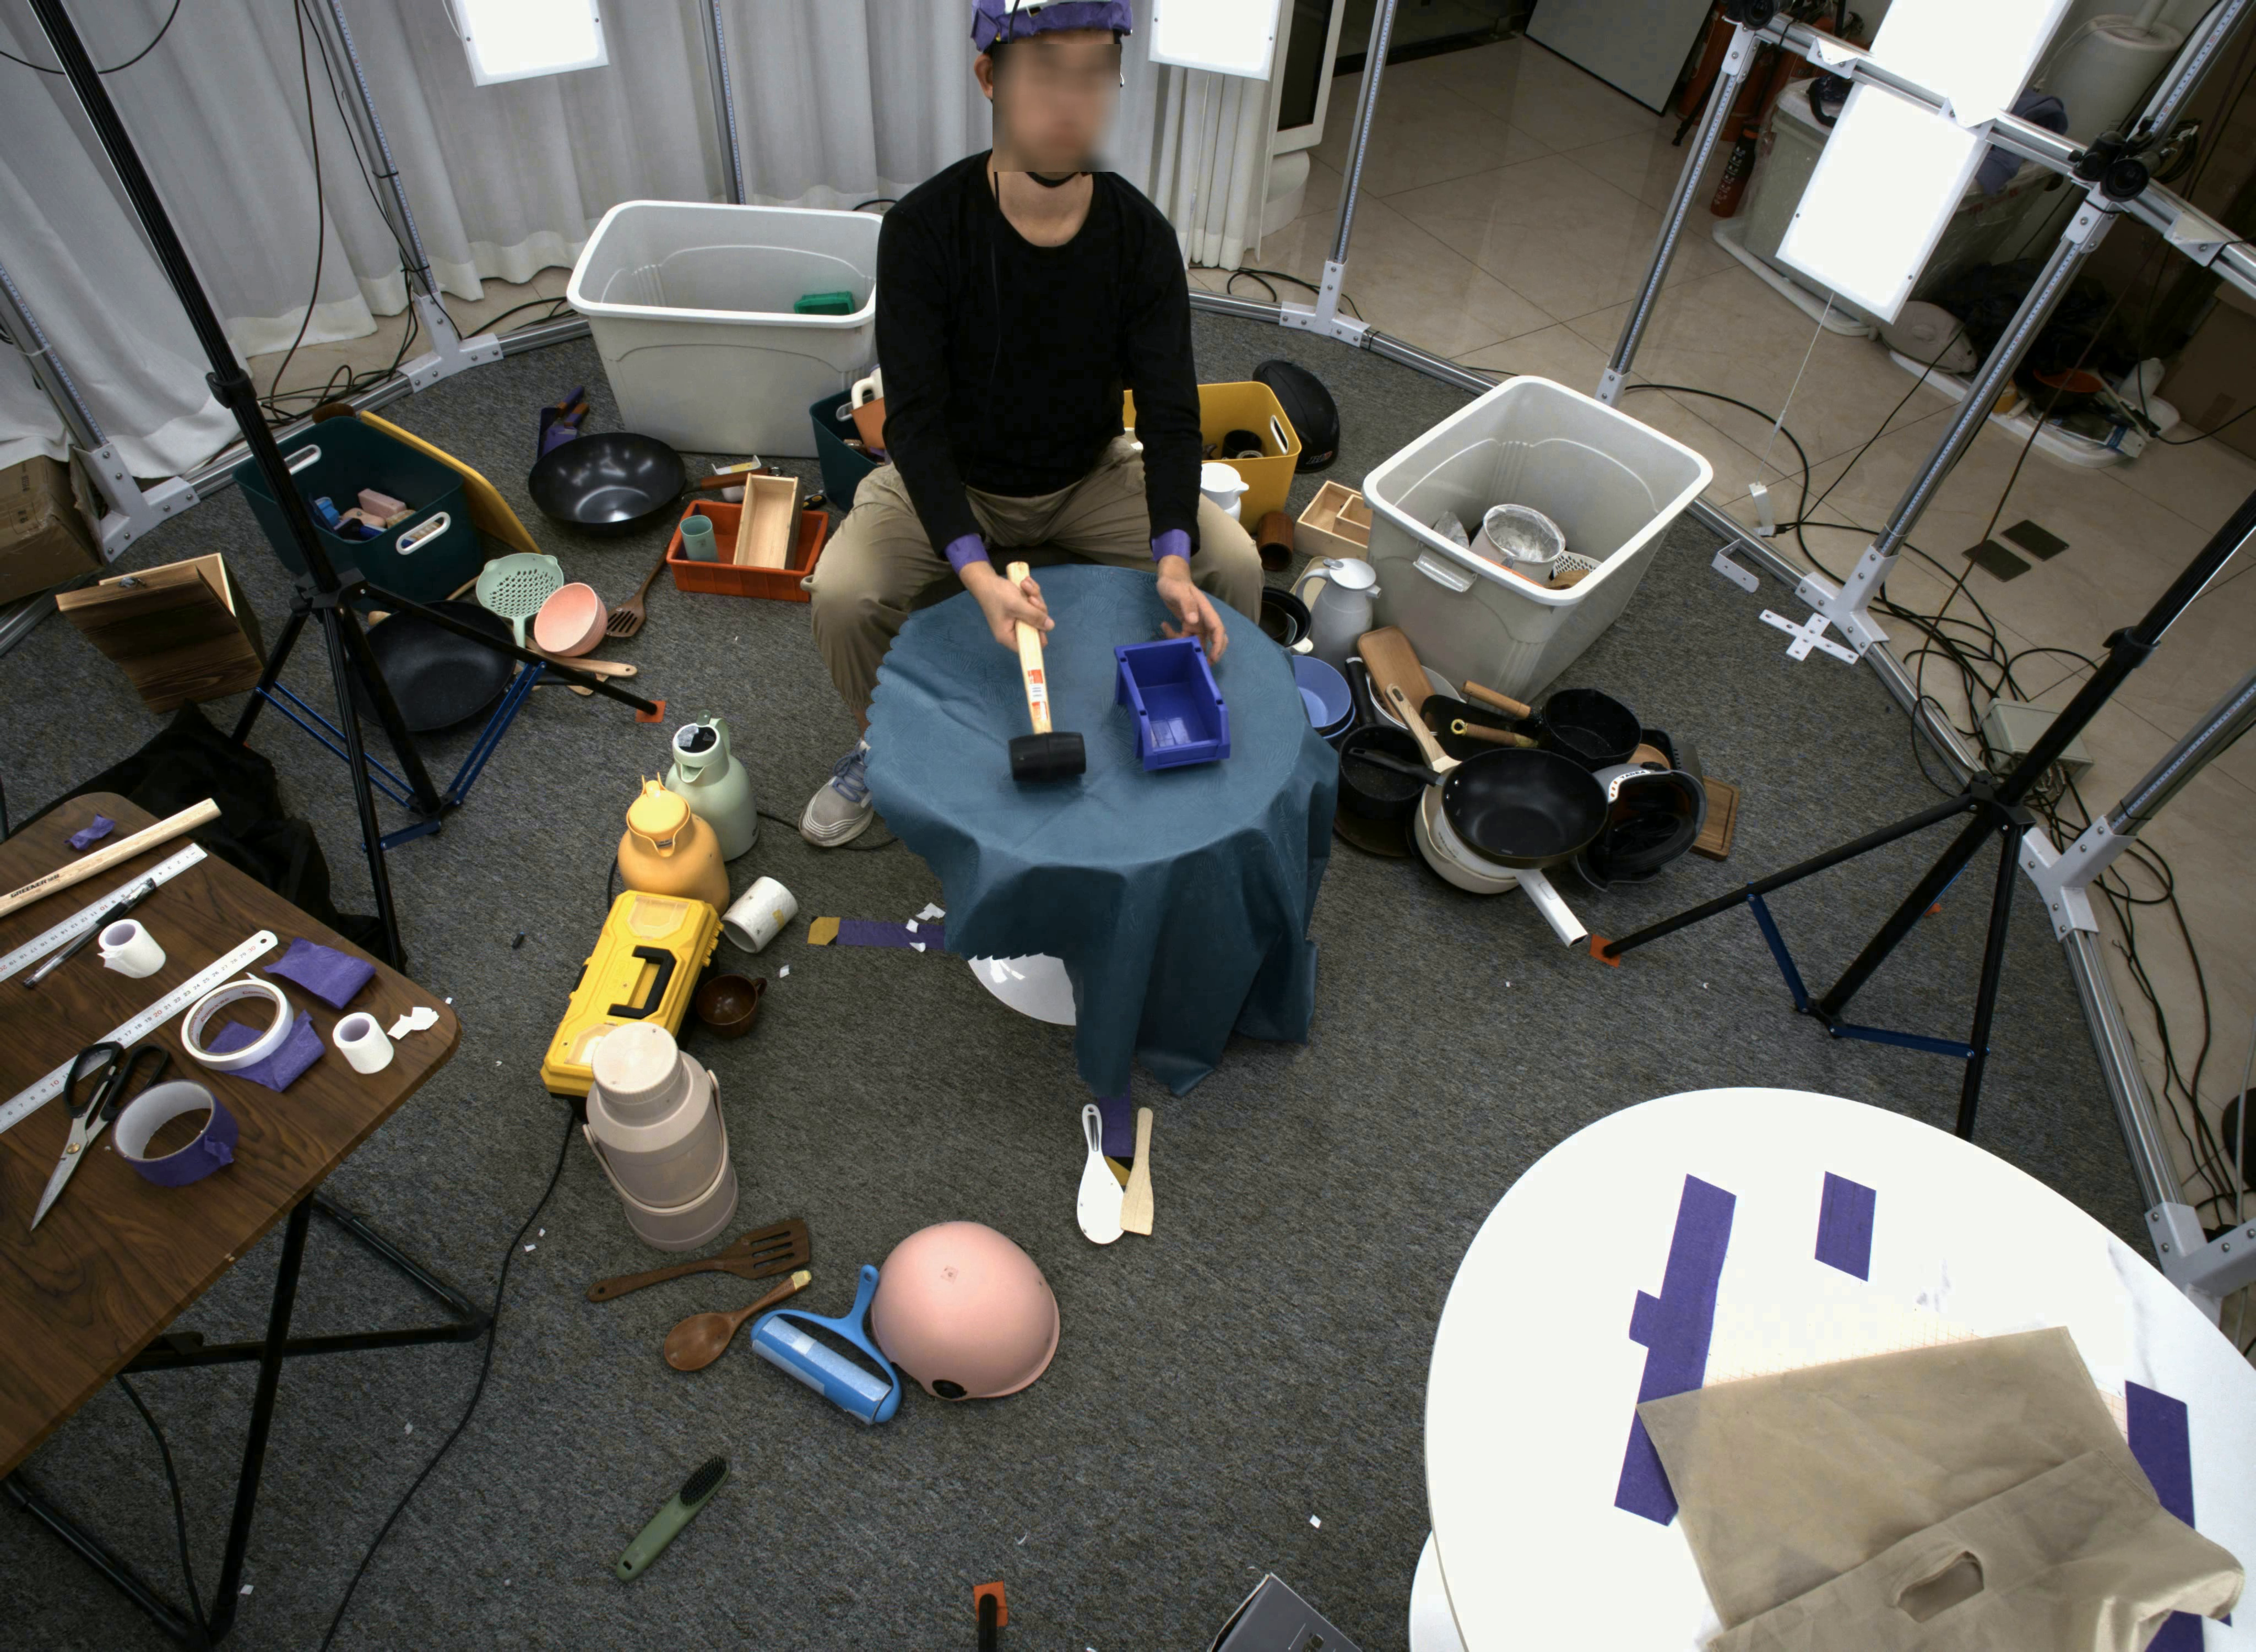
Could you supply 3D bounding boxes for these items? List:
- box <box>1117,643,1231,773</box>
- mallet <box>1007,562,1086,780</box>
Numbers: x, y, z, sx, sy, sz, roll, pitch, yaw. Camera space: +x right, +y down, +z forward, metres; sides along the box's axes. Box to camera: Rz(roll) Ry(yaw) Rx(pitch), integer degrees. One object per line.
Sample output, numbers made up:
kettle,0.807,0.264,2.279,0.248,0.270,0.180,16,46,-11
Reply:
box,0.063,-0.158,1.758,0.124,0.080,0.184,-8,47,-10
mallet,-0.128,-0.220,1.747,0.102,0.063,0.345,-4,66,-10
